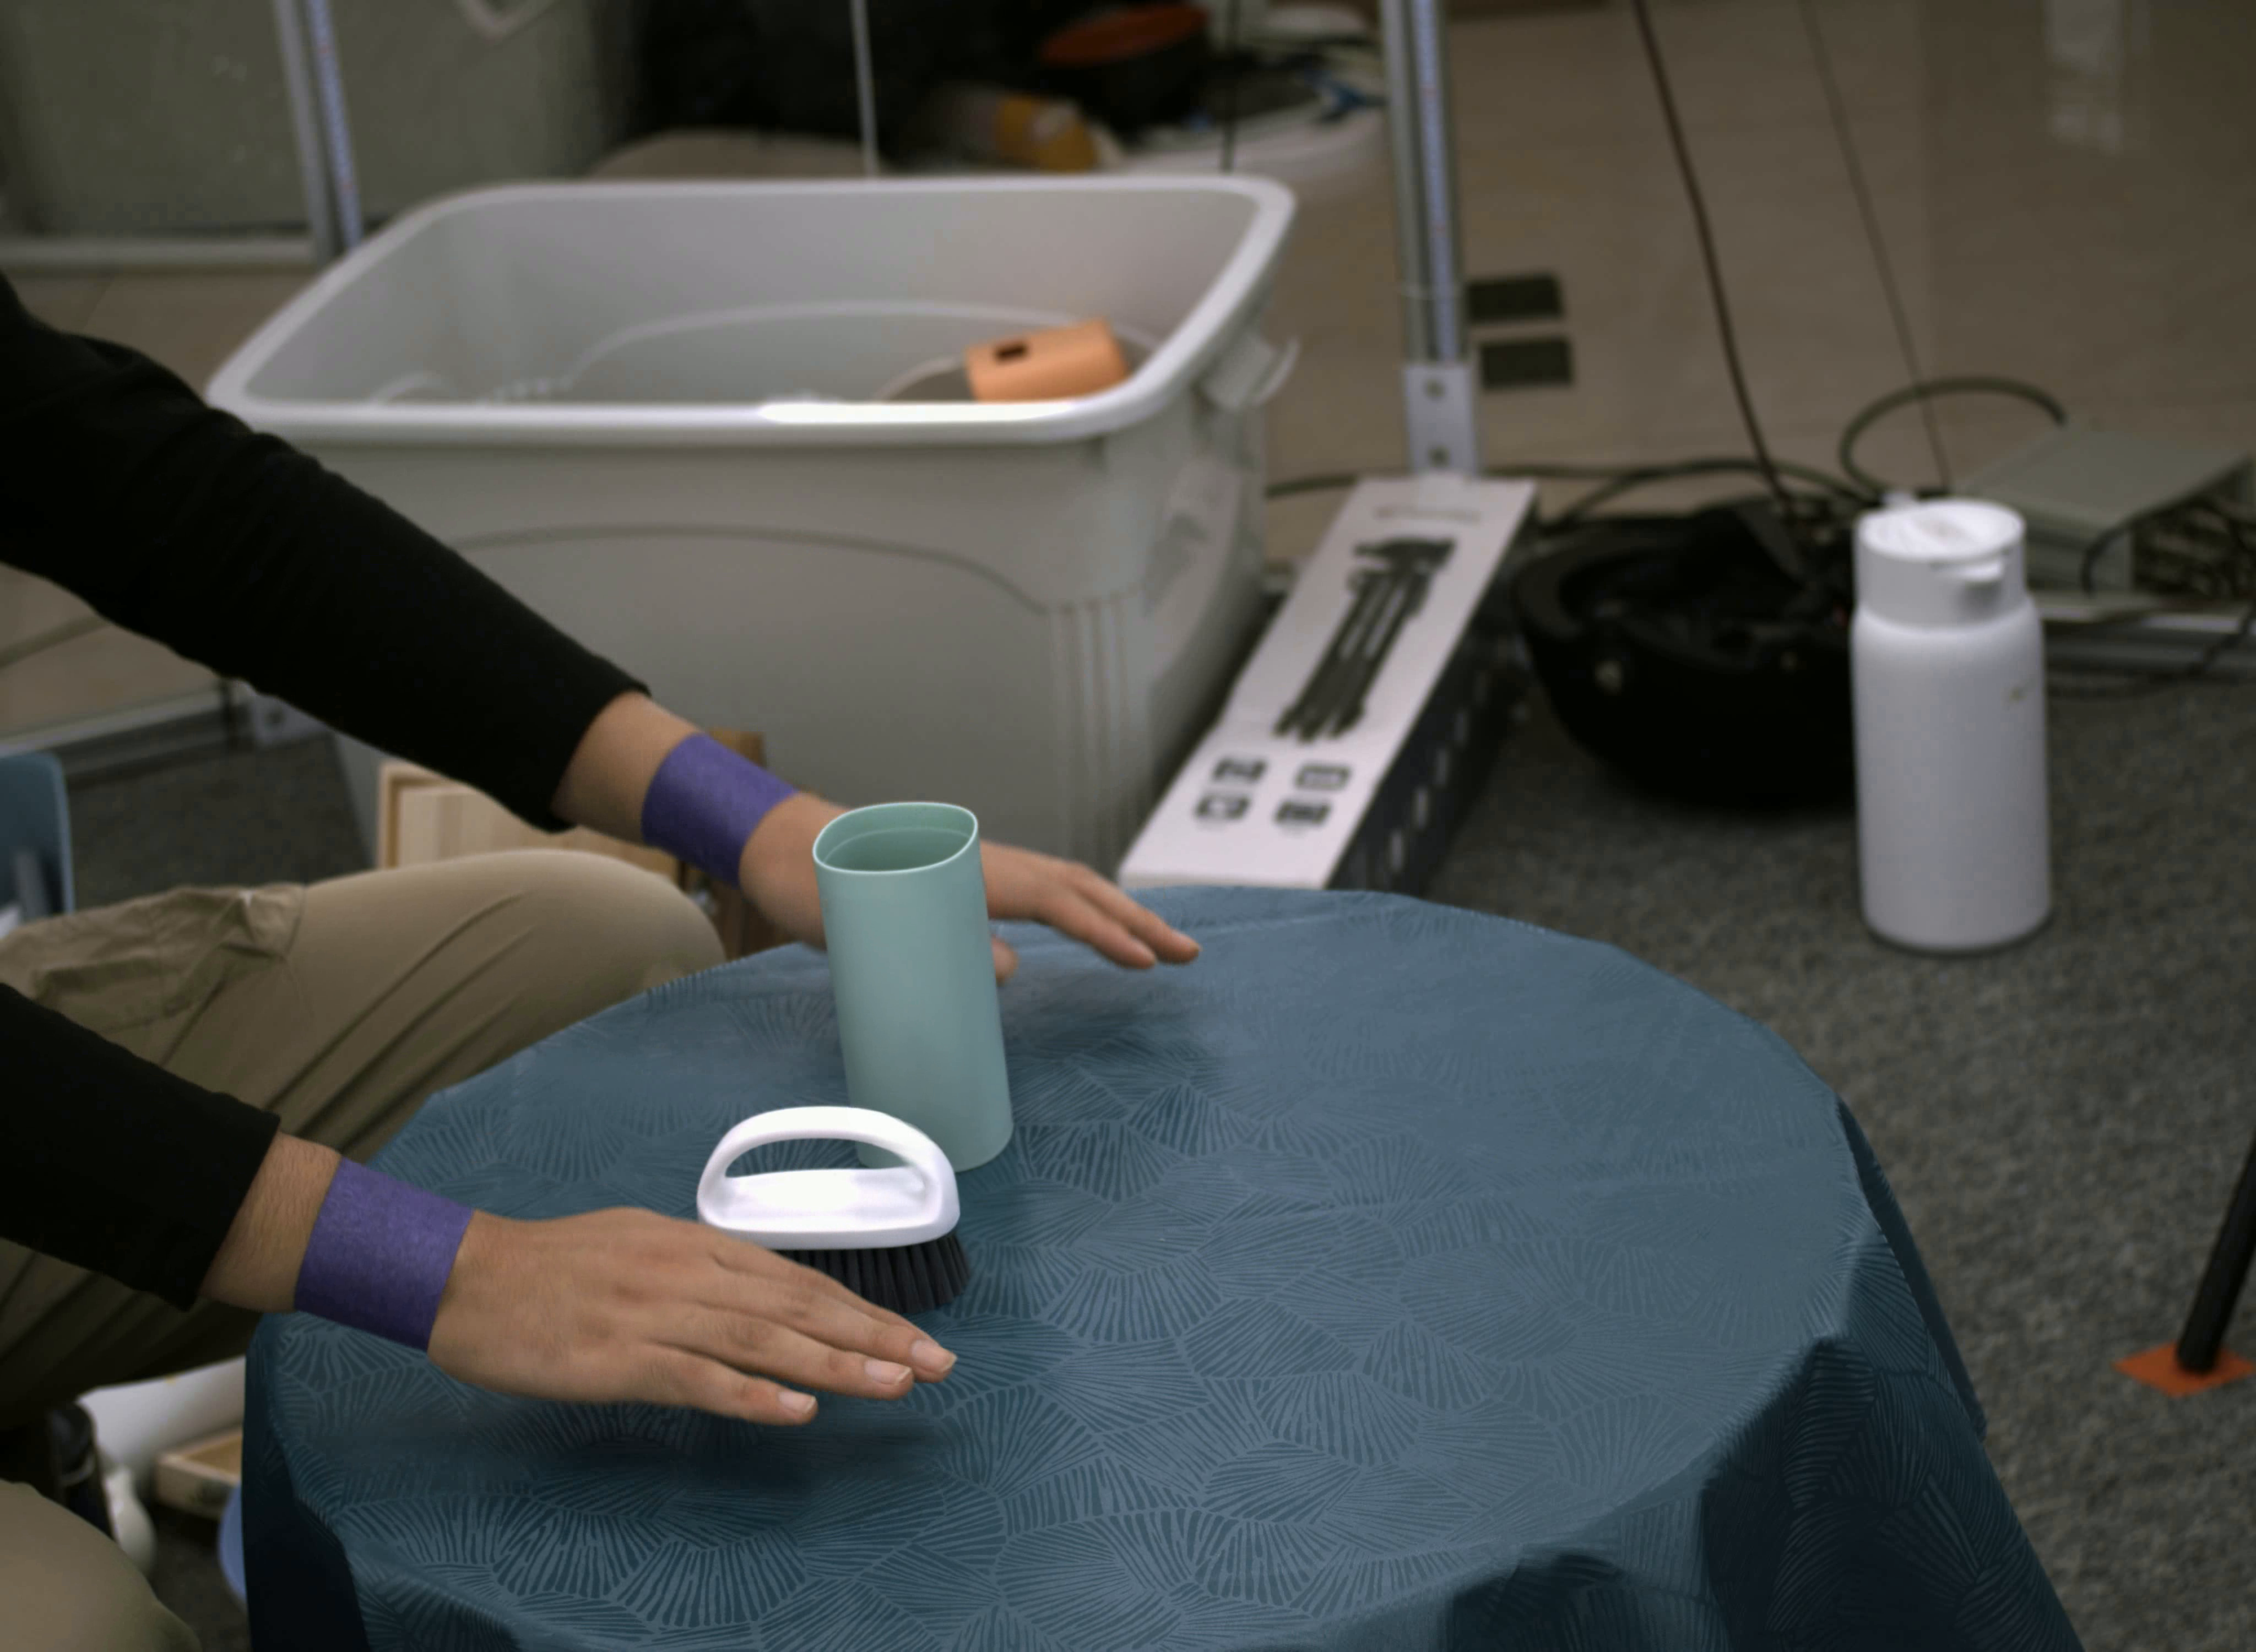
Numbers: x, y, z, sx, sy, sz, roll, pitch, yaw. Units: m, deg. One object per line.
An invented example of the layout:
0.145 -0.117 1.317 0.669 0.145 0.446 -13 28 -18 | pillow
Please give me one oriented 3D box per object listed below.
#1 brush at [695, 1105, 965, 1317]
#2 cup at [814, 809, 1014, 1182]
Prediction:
-0.112 0.137 2.088 0.099 0.073 0.049 0 25 12 | brush
-0.082 0.066 2.175 0.066 0.134 0.066 -5 26 2 | cup
